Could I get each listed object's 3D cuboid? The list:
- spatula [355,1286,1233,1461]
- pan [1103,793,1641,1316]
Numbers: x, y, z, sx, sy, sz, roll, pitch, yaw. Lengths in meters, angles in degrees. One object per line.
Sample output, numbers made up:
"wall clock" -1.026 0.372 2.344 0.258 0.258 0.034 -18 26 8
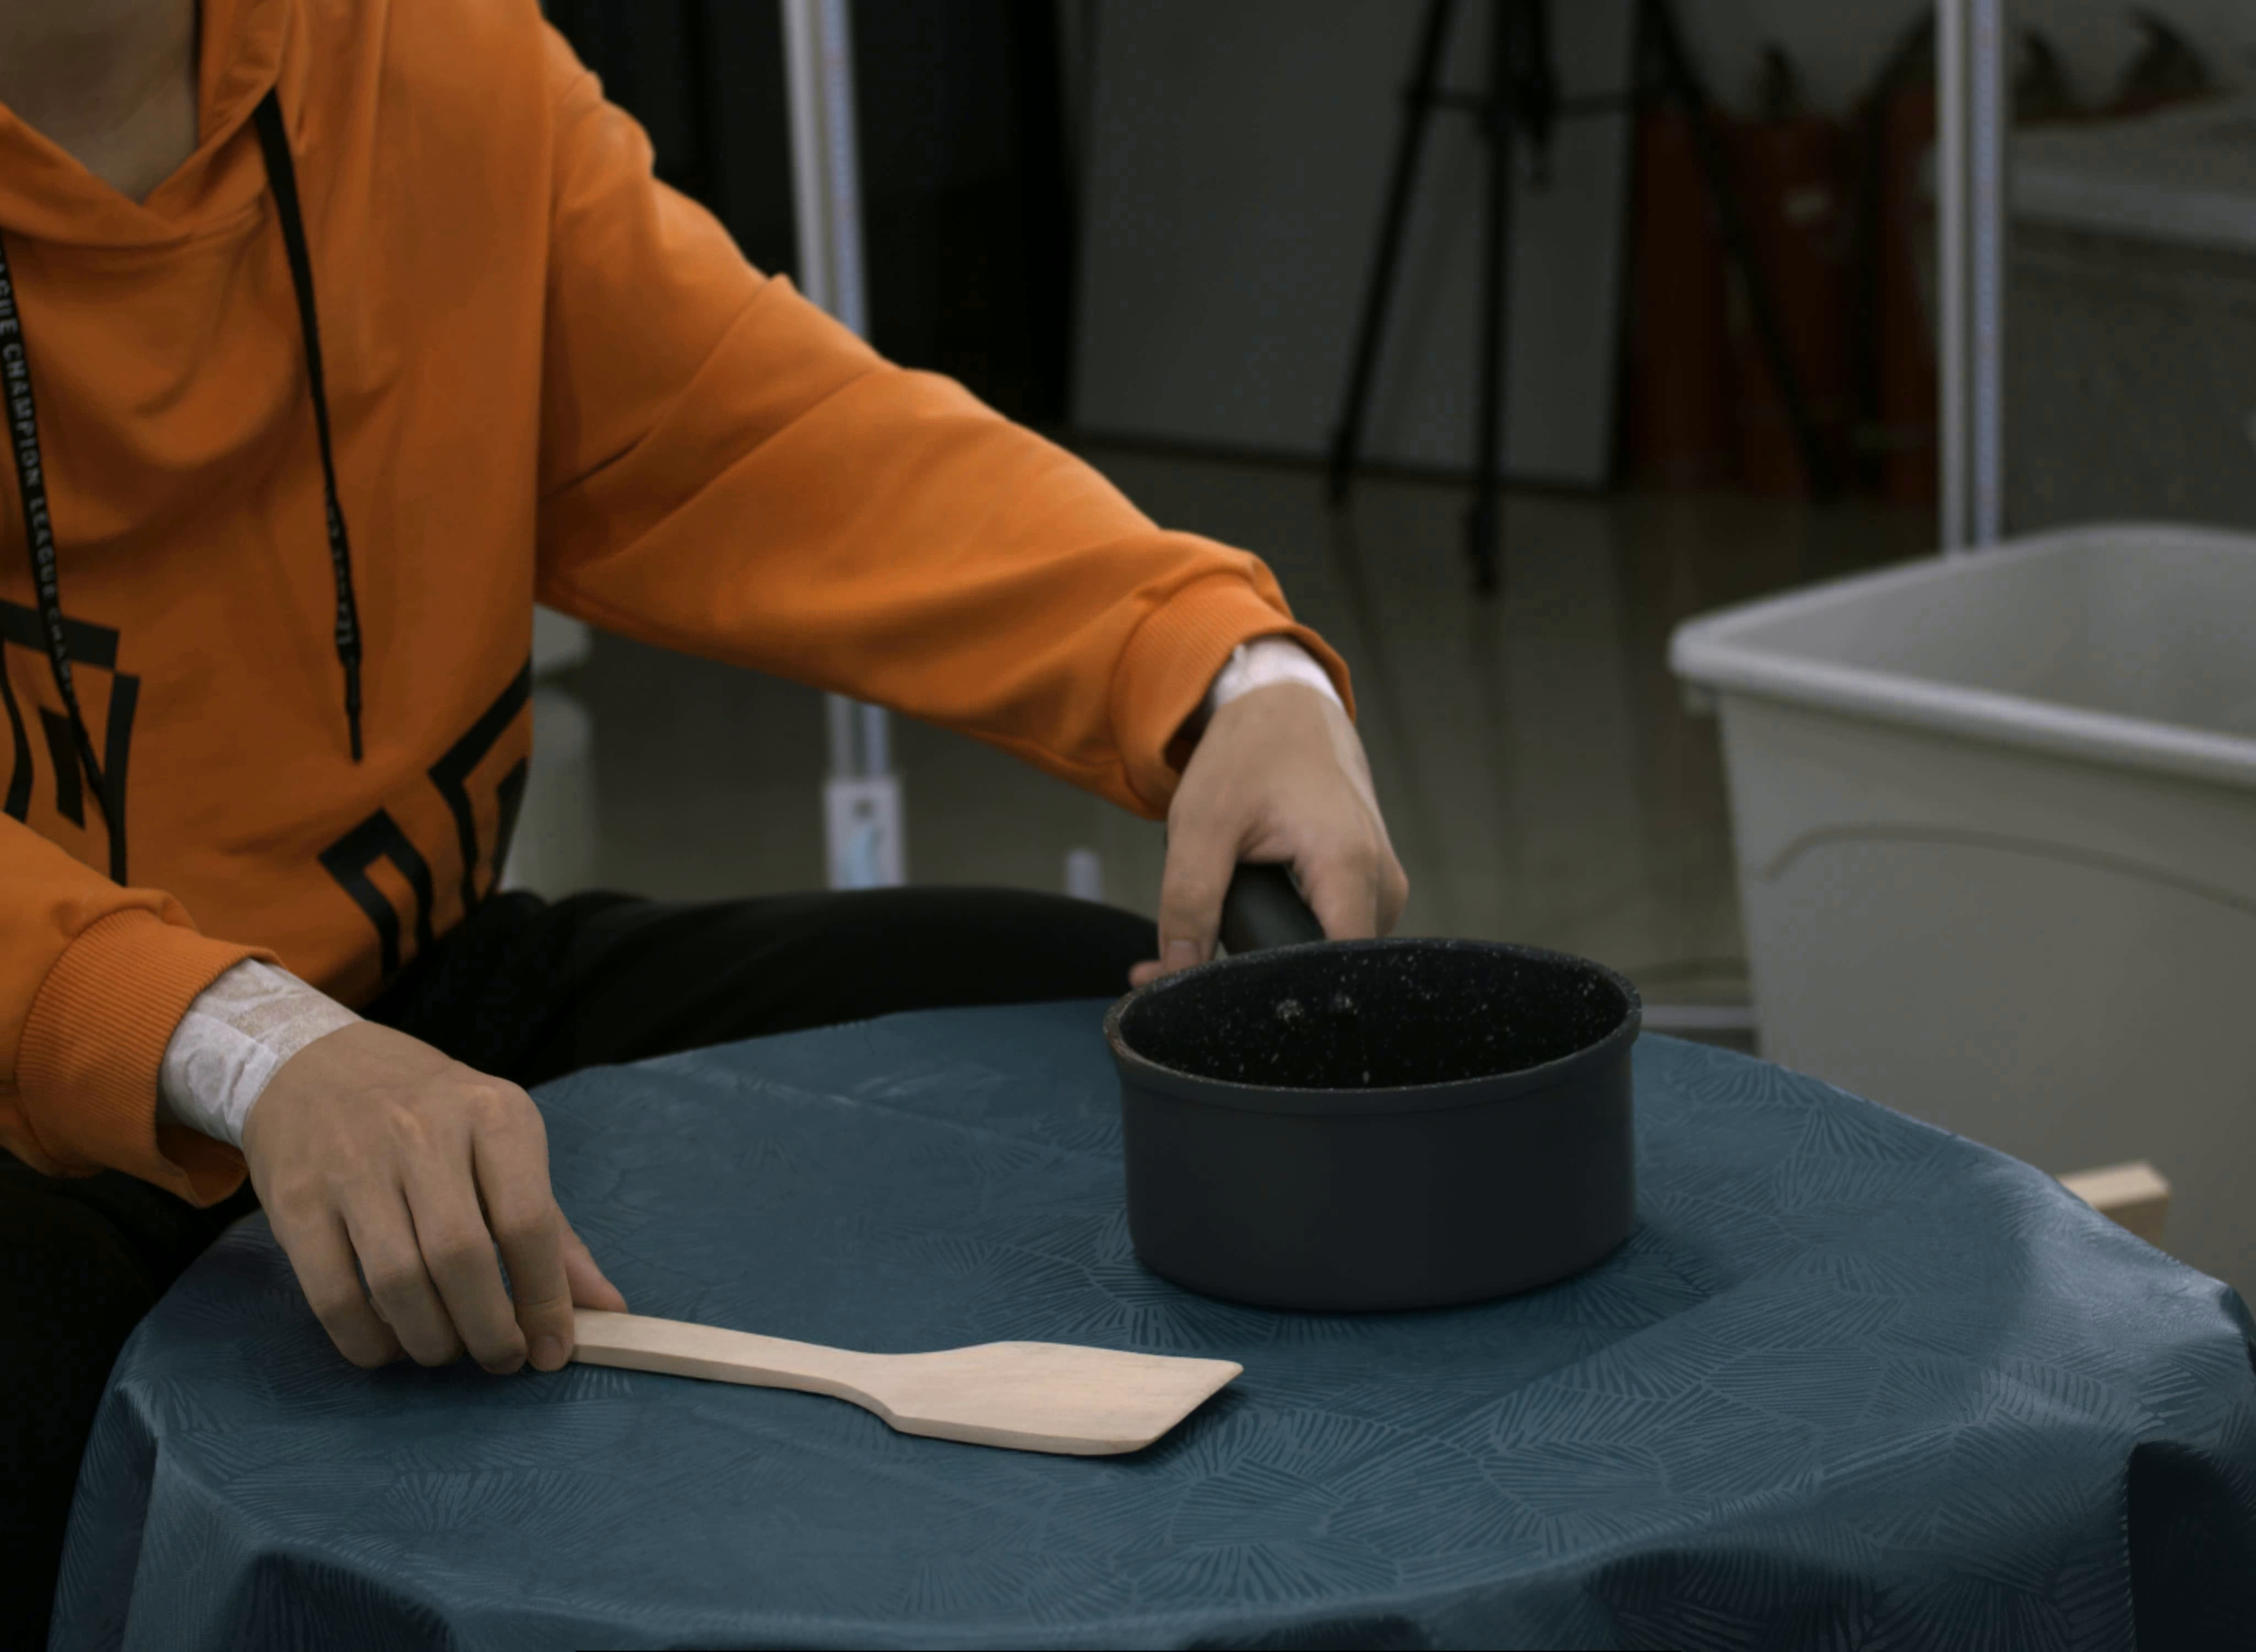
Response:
"spatula" -0.110 0.161 1.621 0.294 0.011 0.071 4 19 29
"pan" 0.066 0.071 1.776 0.169 0.087 0.330 -5 15 -7
